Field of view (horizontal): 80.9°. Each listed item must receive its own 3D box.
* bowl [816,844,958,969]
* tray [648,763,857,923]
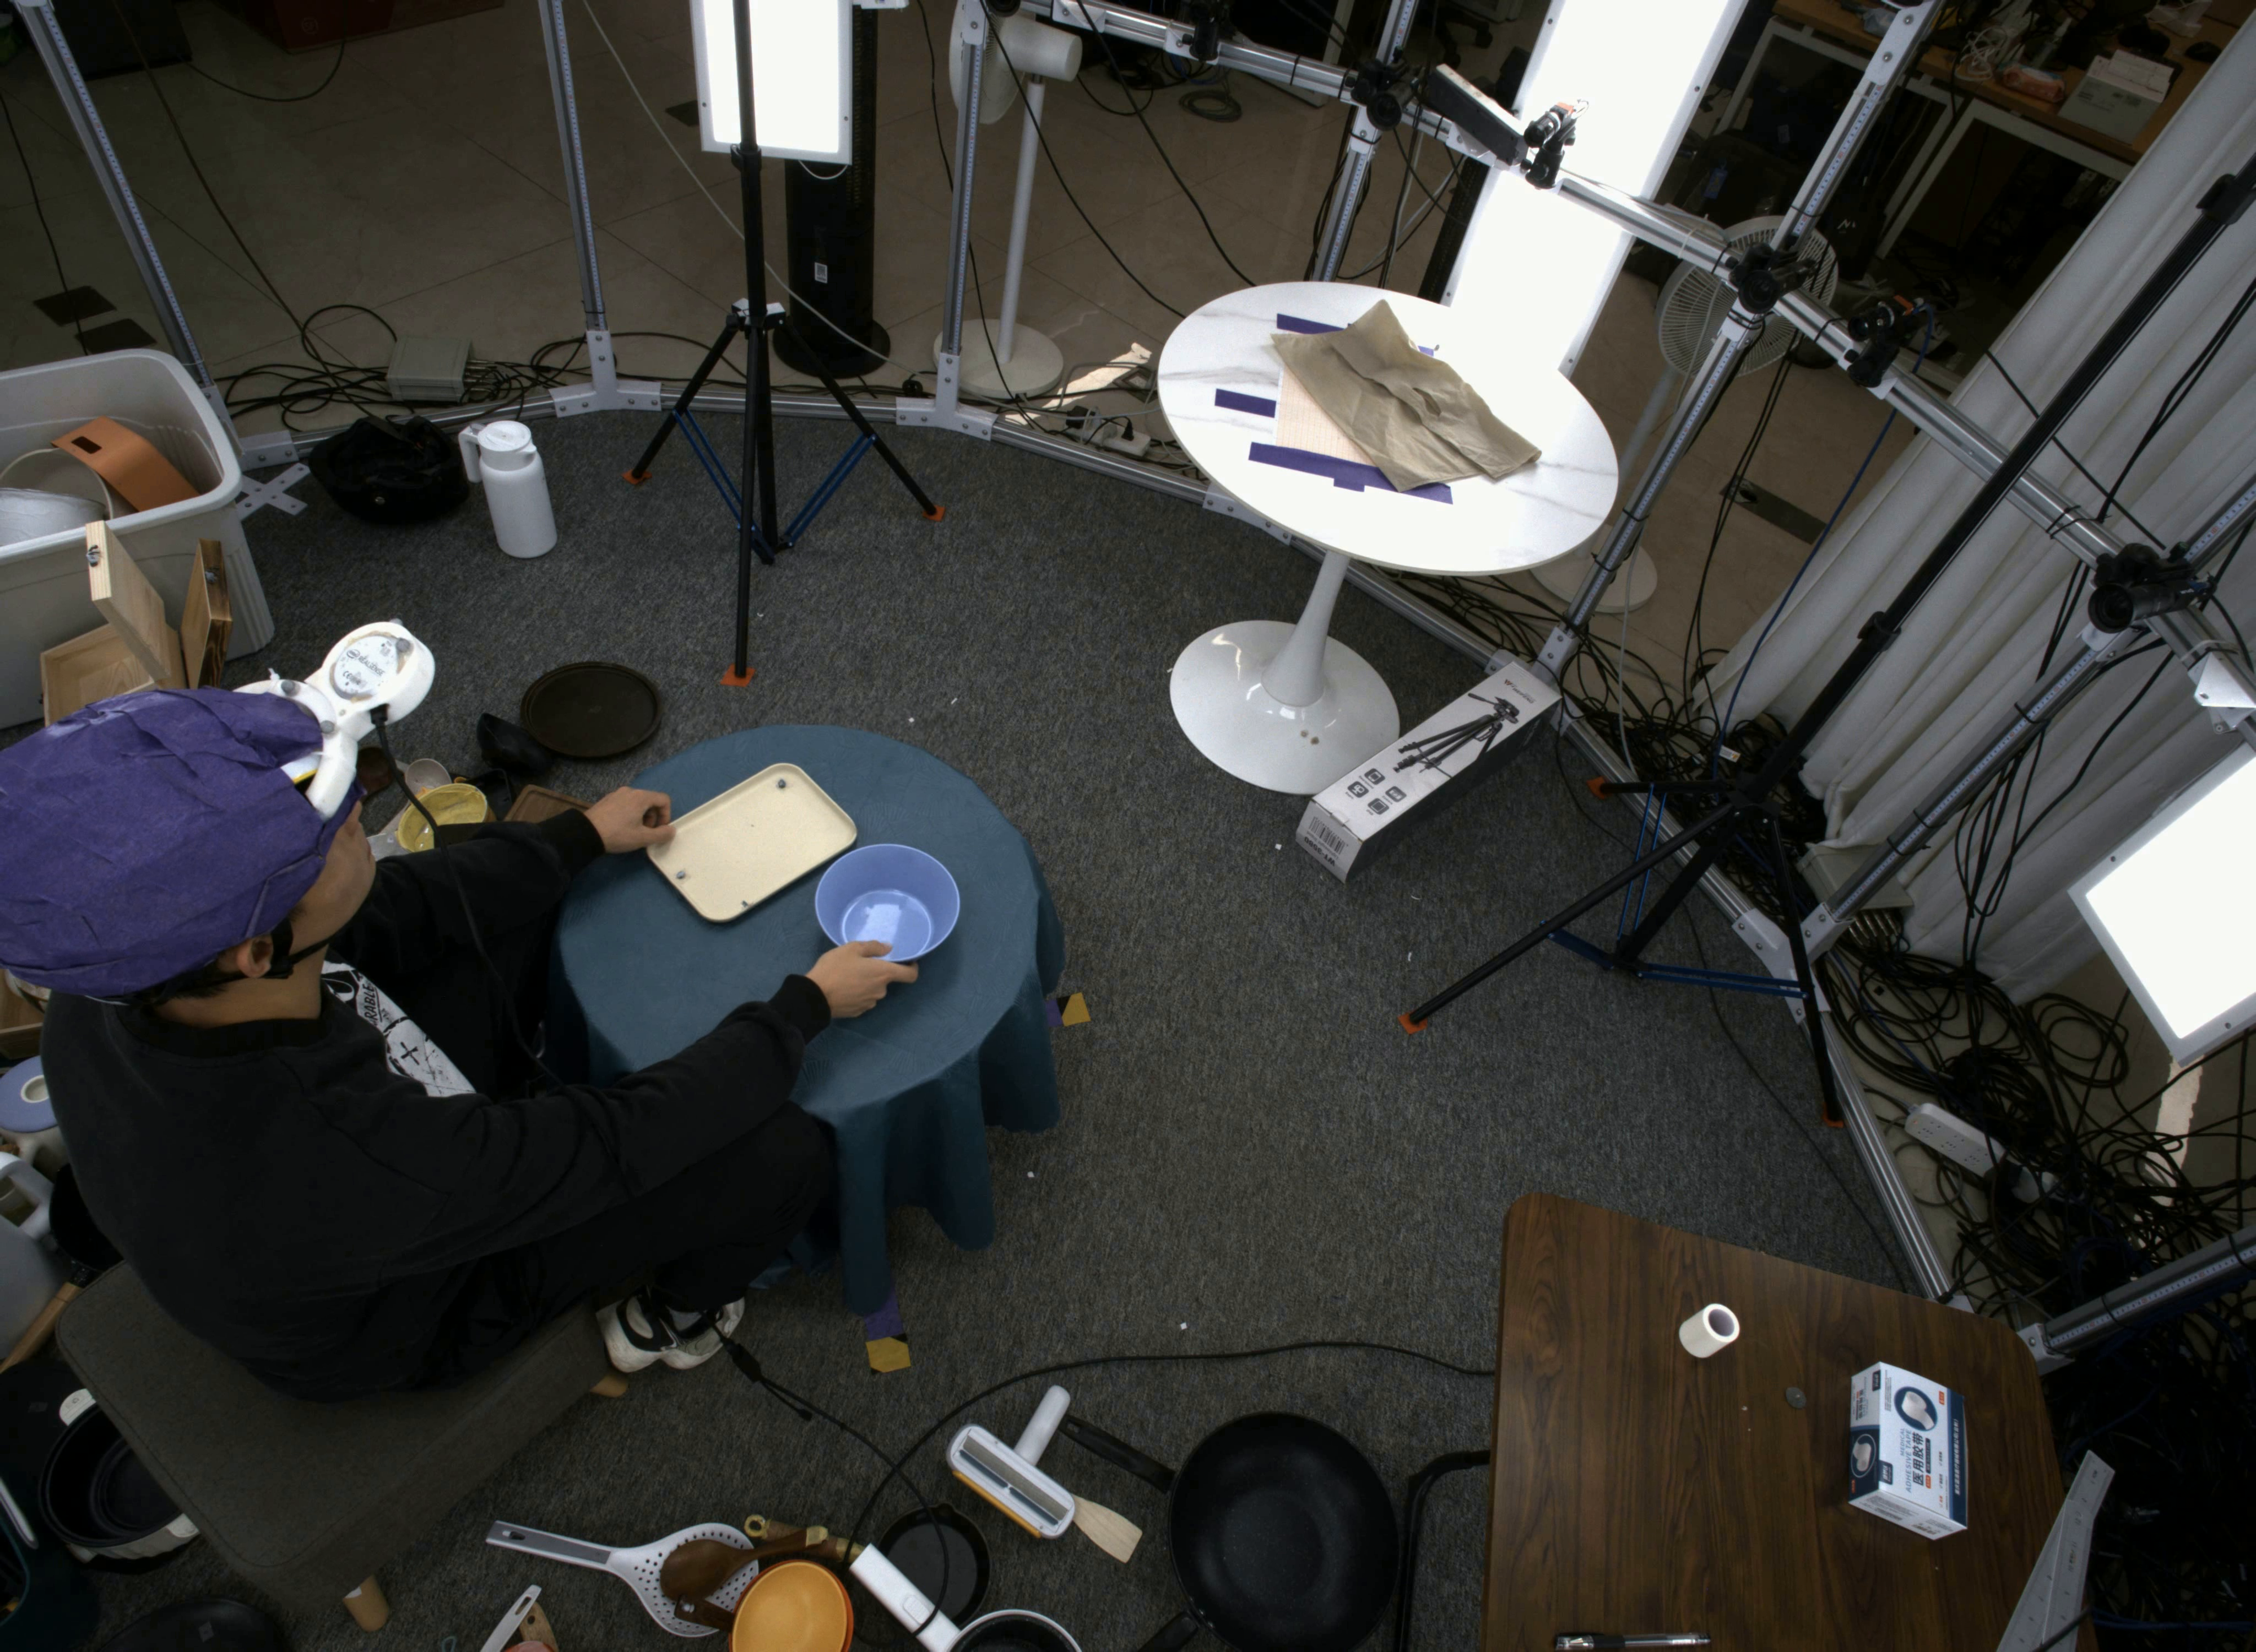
[{"bbox_3d":[-0.303,0.111,1.632,0.176,0.072,0.173,8,51,-9],"label":"bowl"},{"bbox_3d":[-0.488,0.019,1.687,0.167,0.018,0.240,42,55,18],"label":"tray"}]
